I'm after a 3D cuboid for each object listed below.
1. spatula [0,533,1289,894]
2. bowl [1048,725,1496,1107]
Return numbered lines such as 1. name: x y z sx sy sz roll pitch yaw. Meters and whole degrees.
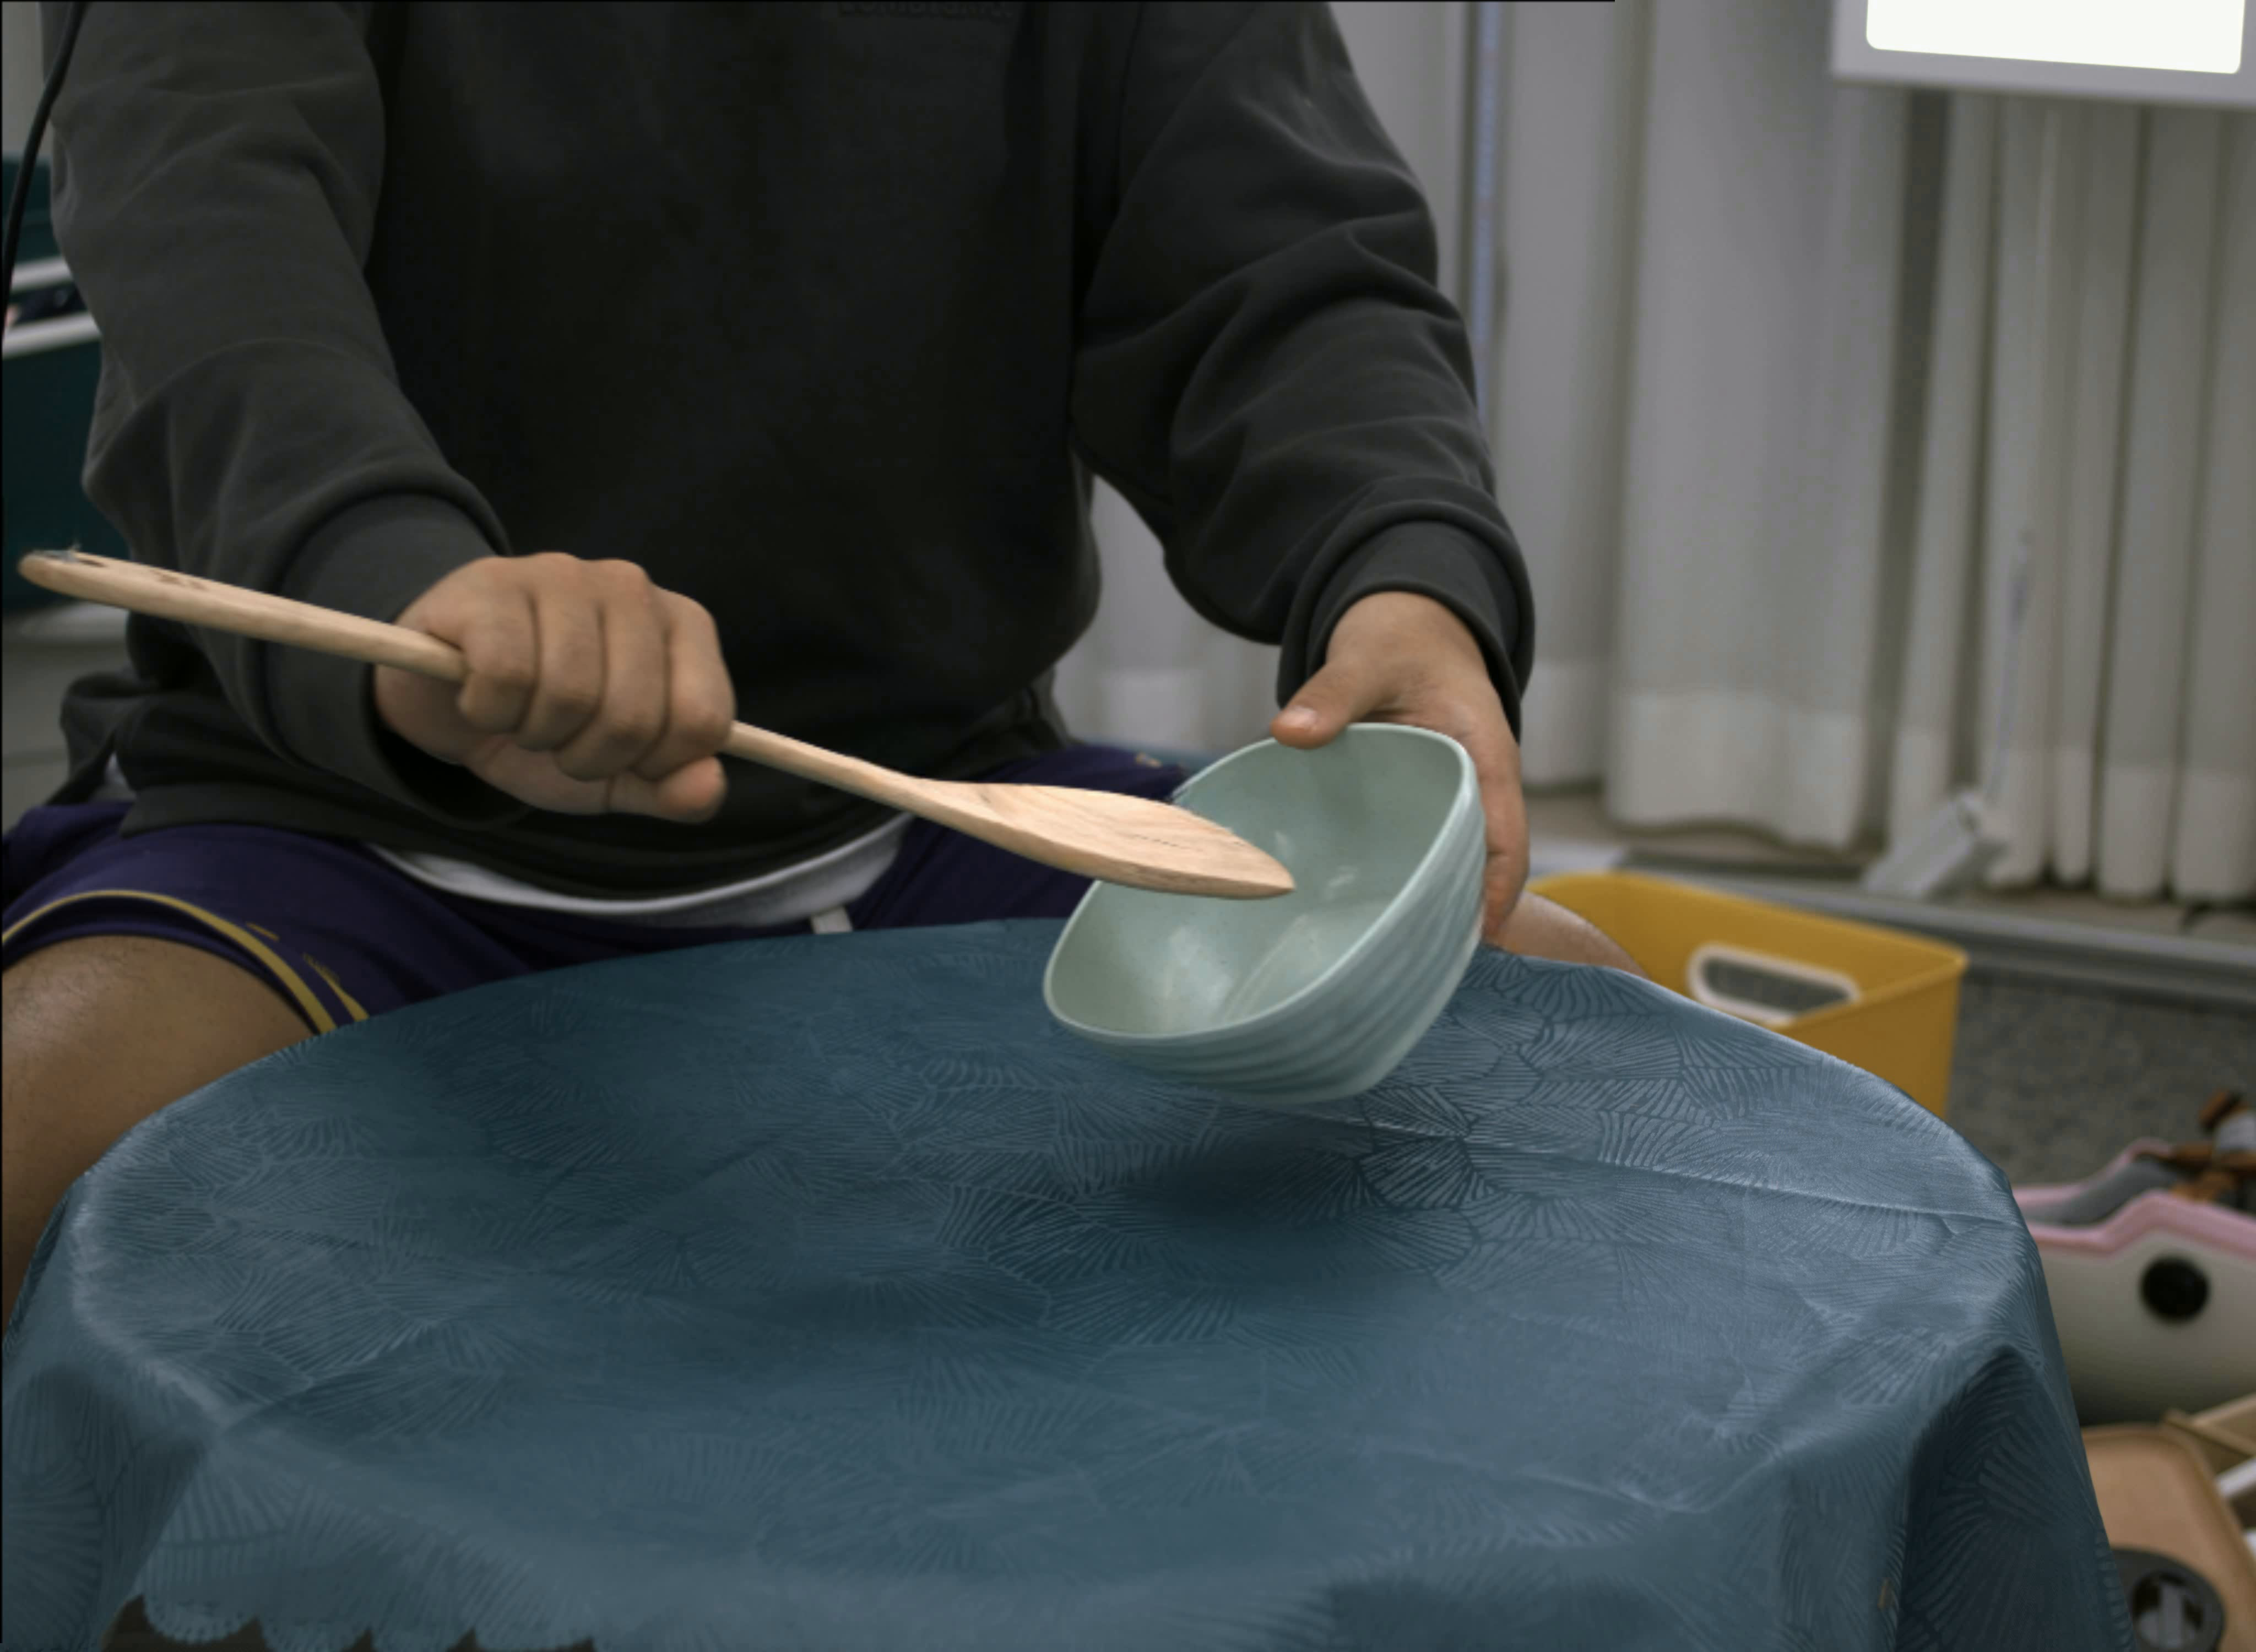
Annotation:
1. spatula: -0.133 -0.031 1.515 0.393 0.018 0.095 16 8 -23
2. bowl: 0.054 0.037 1.623 0.151 0.059 0.150 -22 33 16
